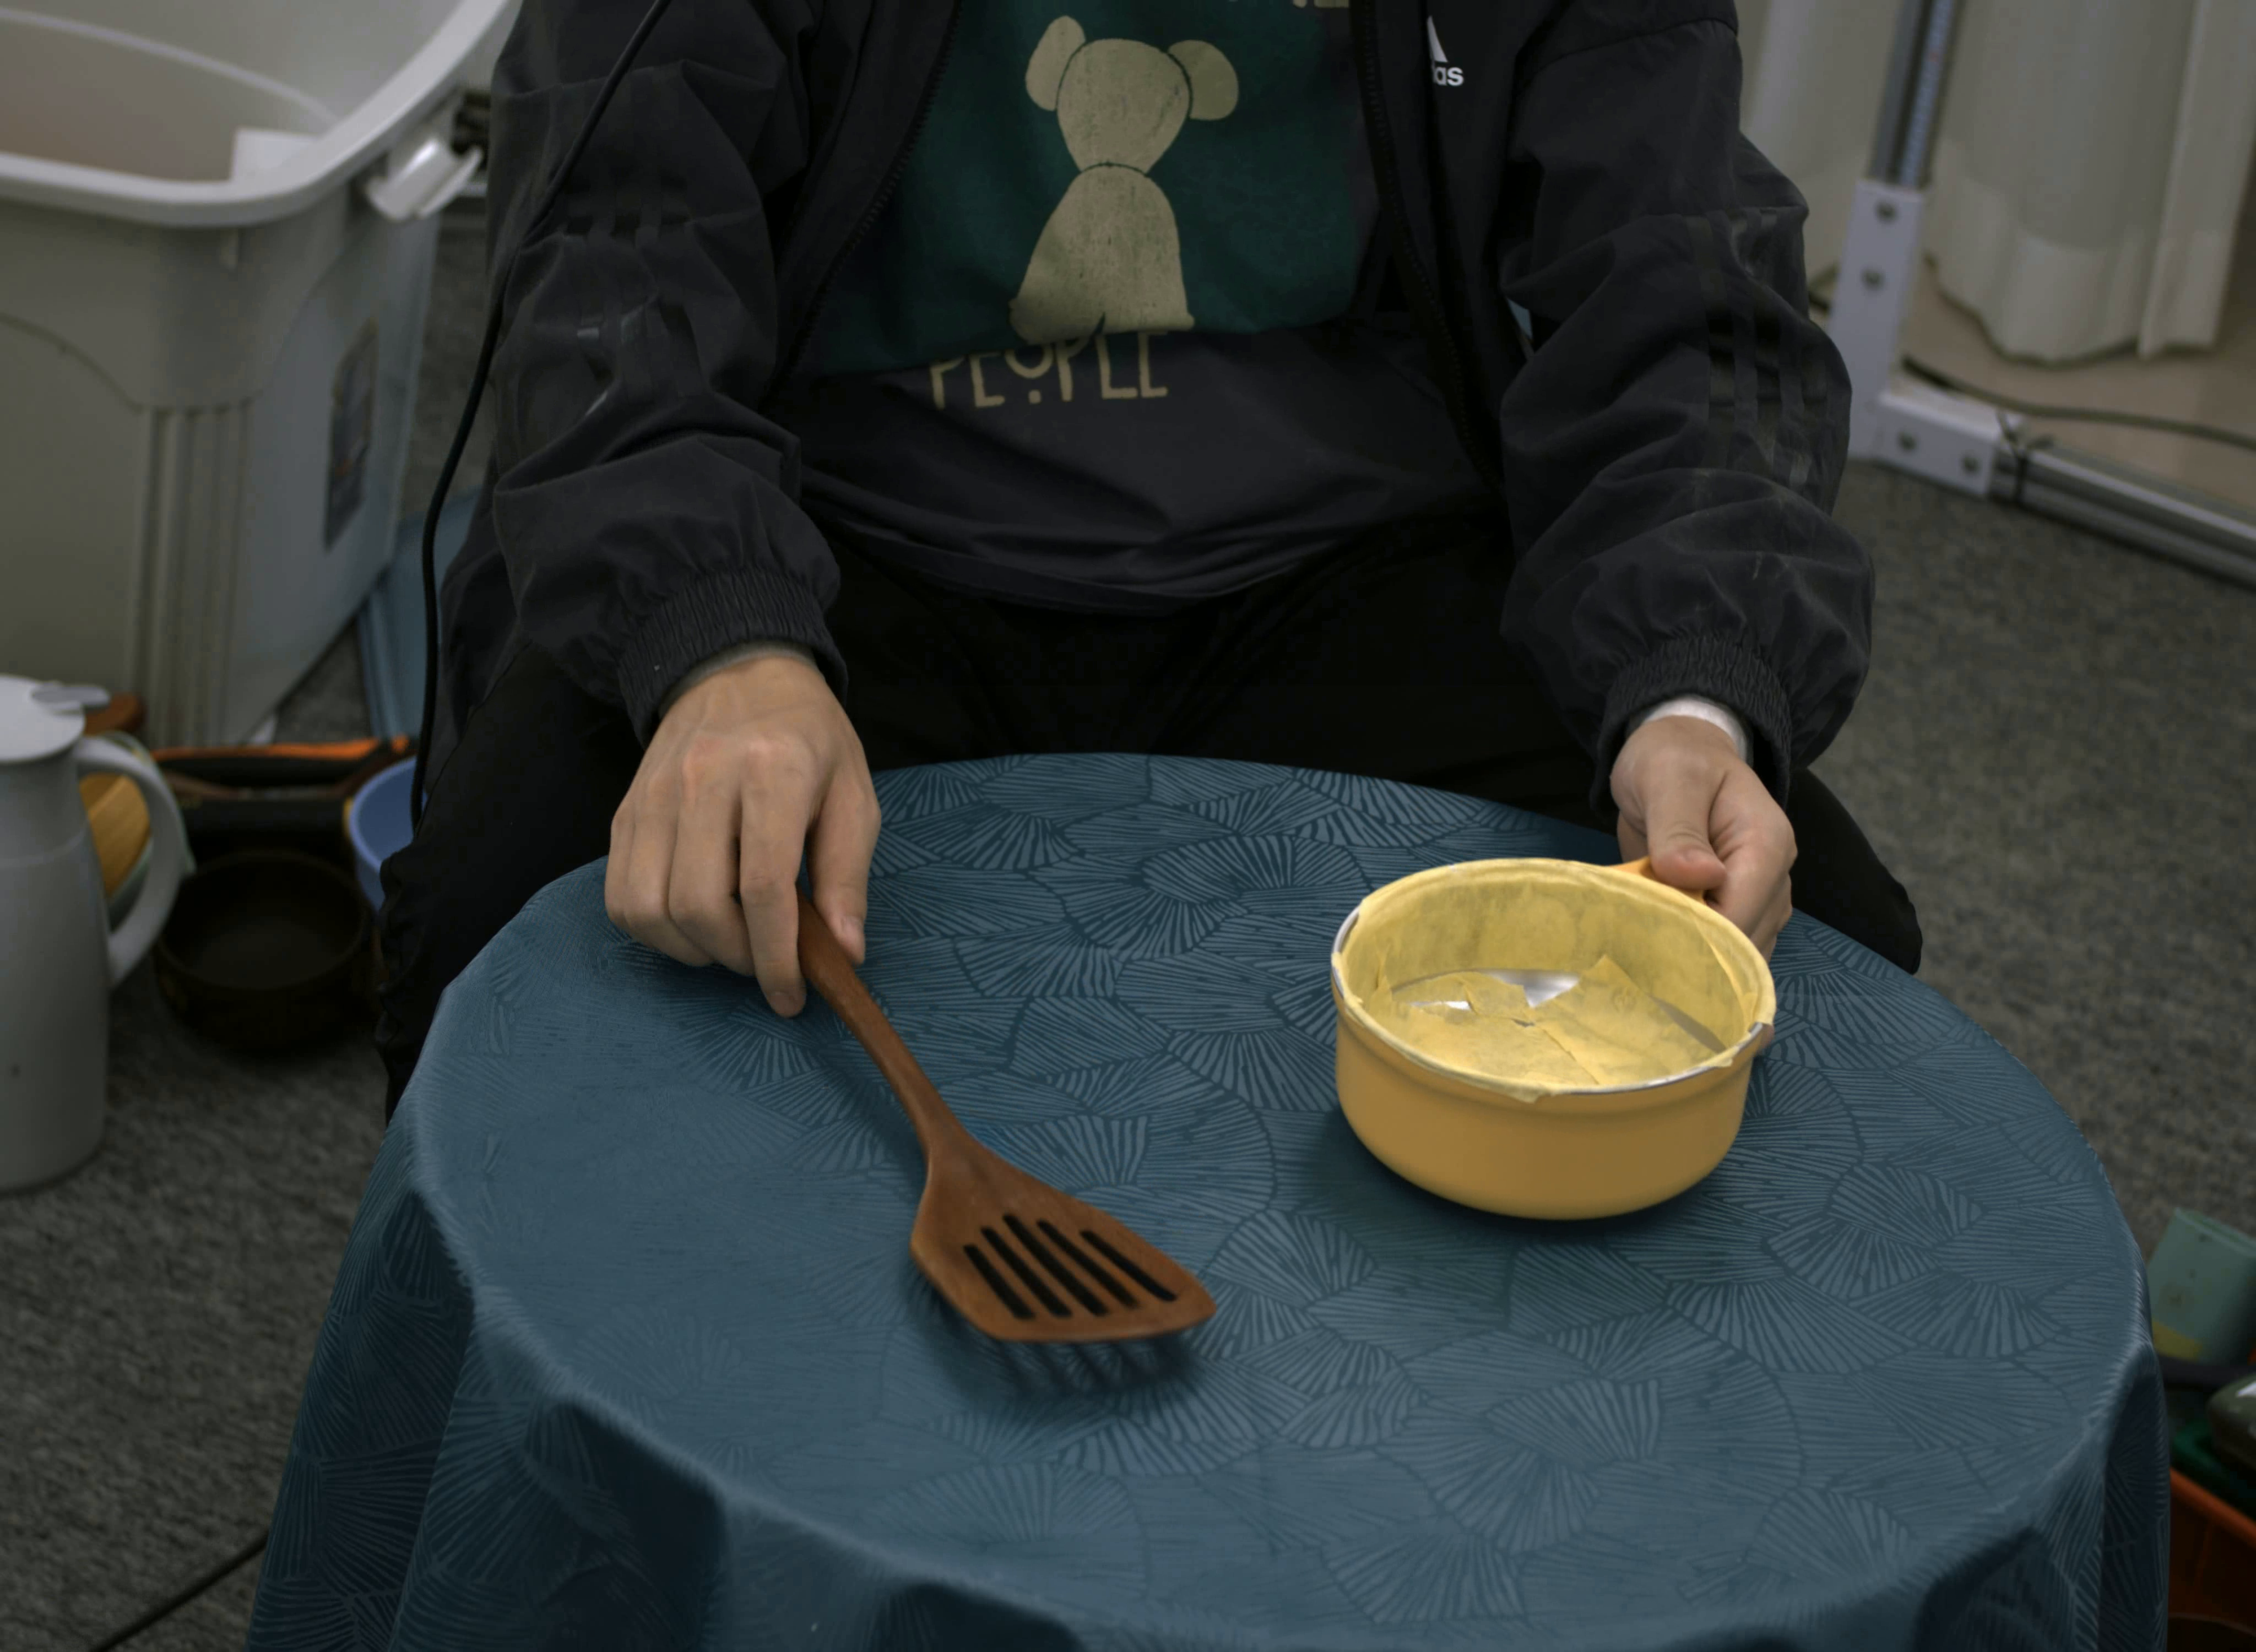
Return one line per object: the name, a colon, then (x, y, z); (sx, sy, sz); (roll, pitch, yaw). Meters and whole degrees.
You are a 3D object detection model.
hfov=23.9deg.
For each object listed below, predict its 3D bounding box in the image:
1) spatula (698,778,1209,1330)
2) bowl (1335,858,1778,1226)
spatula: (-0.081, 0.077, 1.839); (0.085, 0.024, 0.390); (-2, 29, -24)
bowl: (0.153, 0.073, 1.857); (0.153, 0.074, 0.179); (17, 33, 23)
